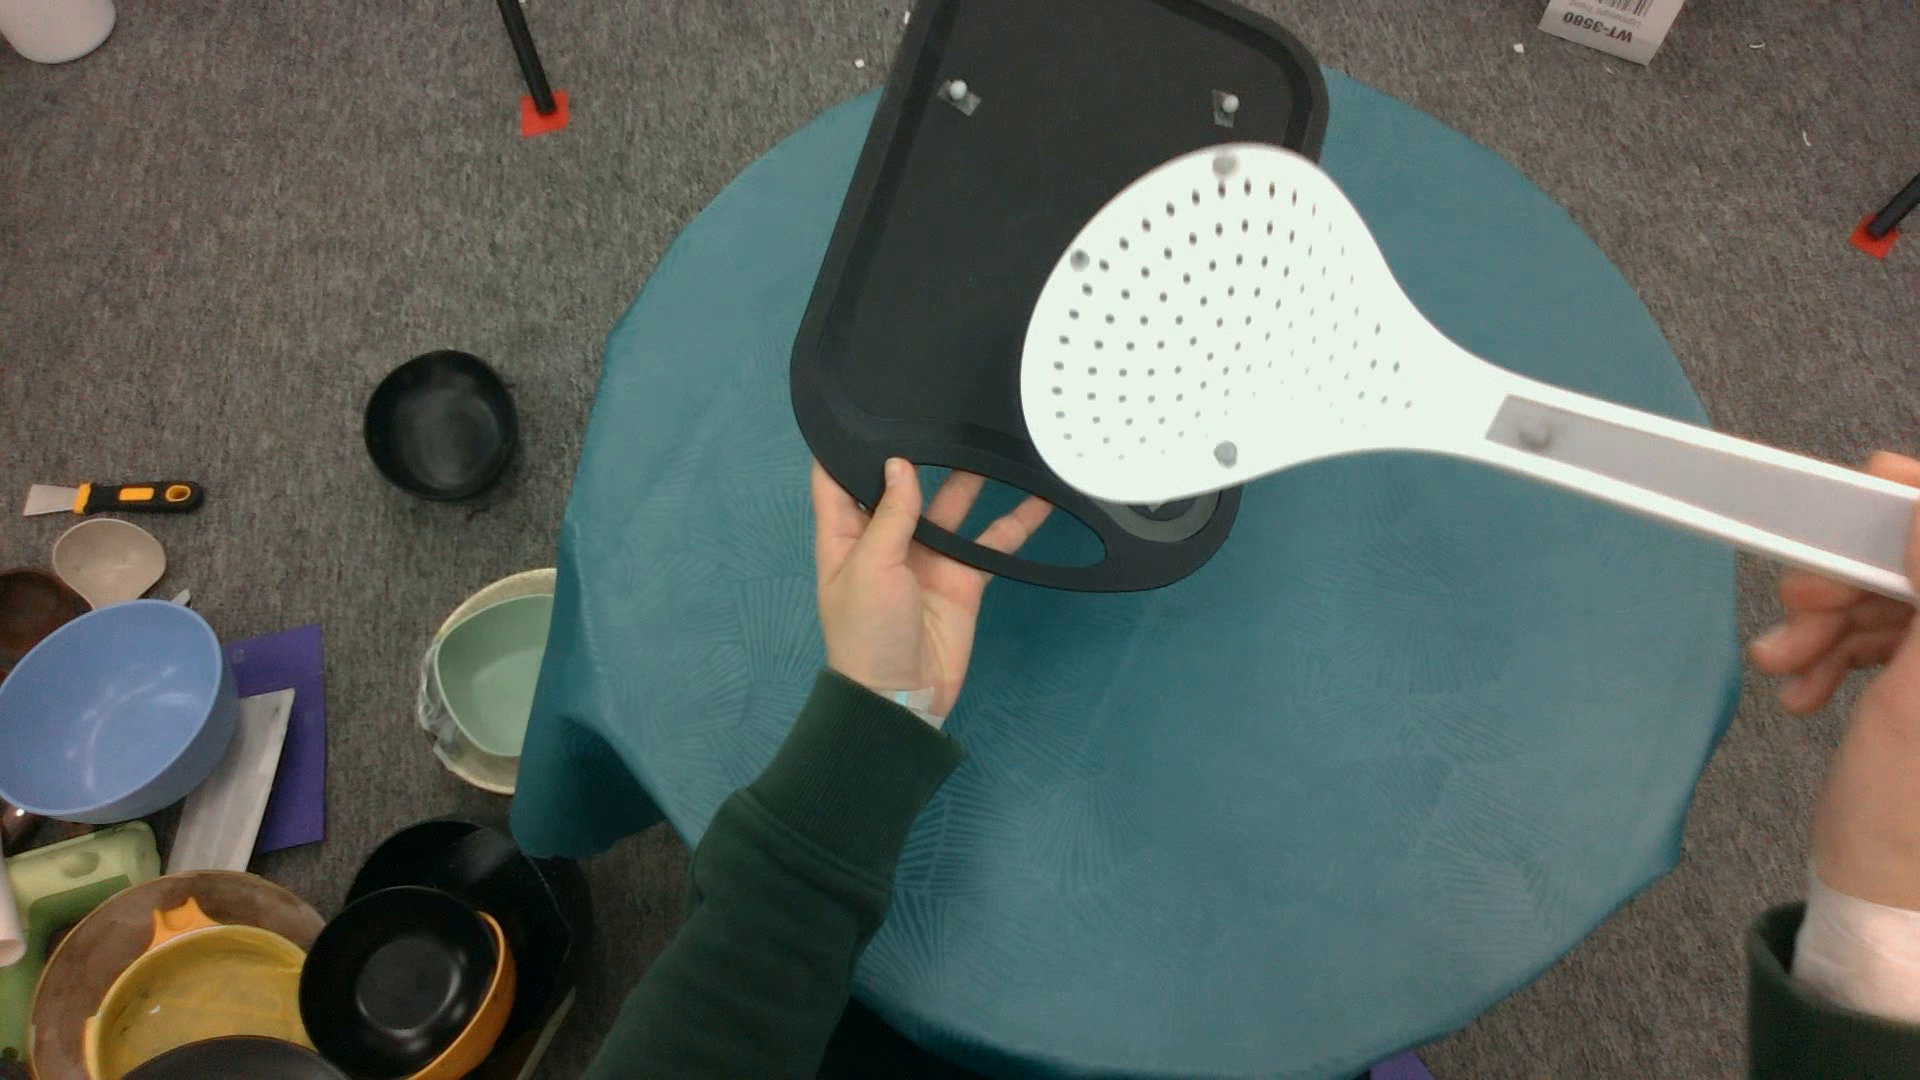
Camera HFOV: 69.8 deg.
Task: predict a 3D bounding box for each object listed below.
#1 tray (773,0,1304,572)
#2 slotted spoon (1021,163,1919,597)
[{"bbox_3d":[0.046,-0.144,0.627,0.211,0.010,0.326,20,70,-12],"label":"tray"},{"bbox_3d":[0.151,-0.042,0.428,0.349,0.046,0.136,25,86,49],"label":"slotted spoon"}]
